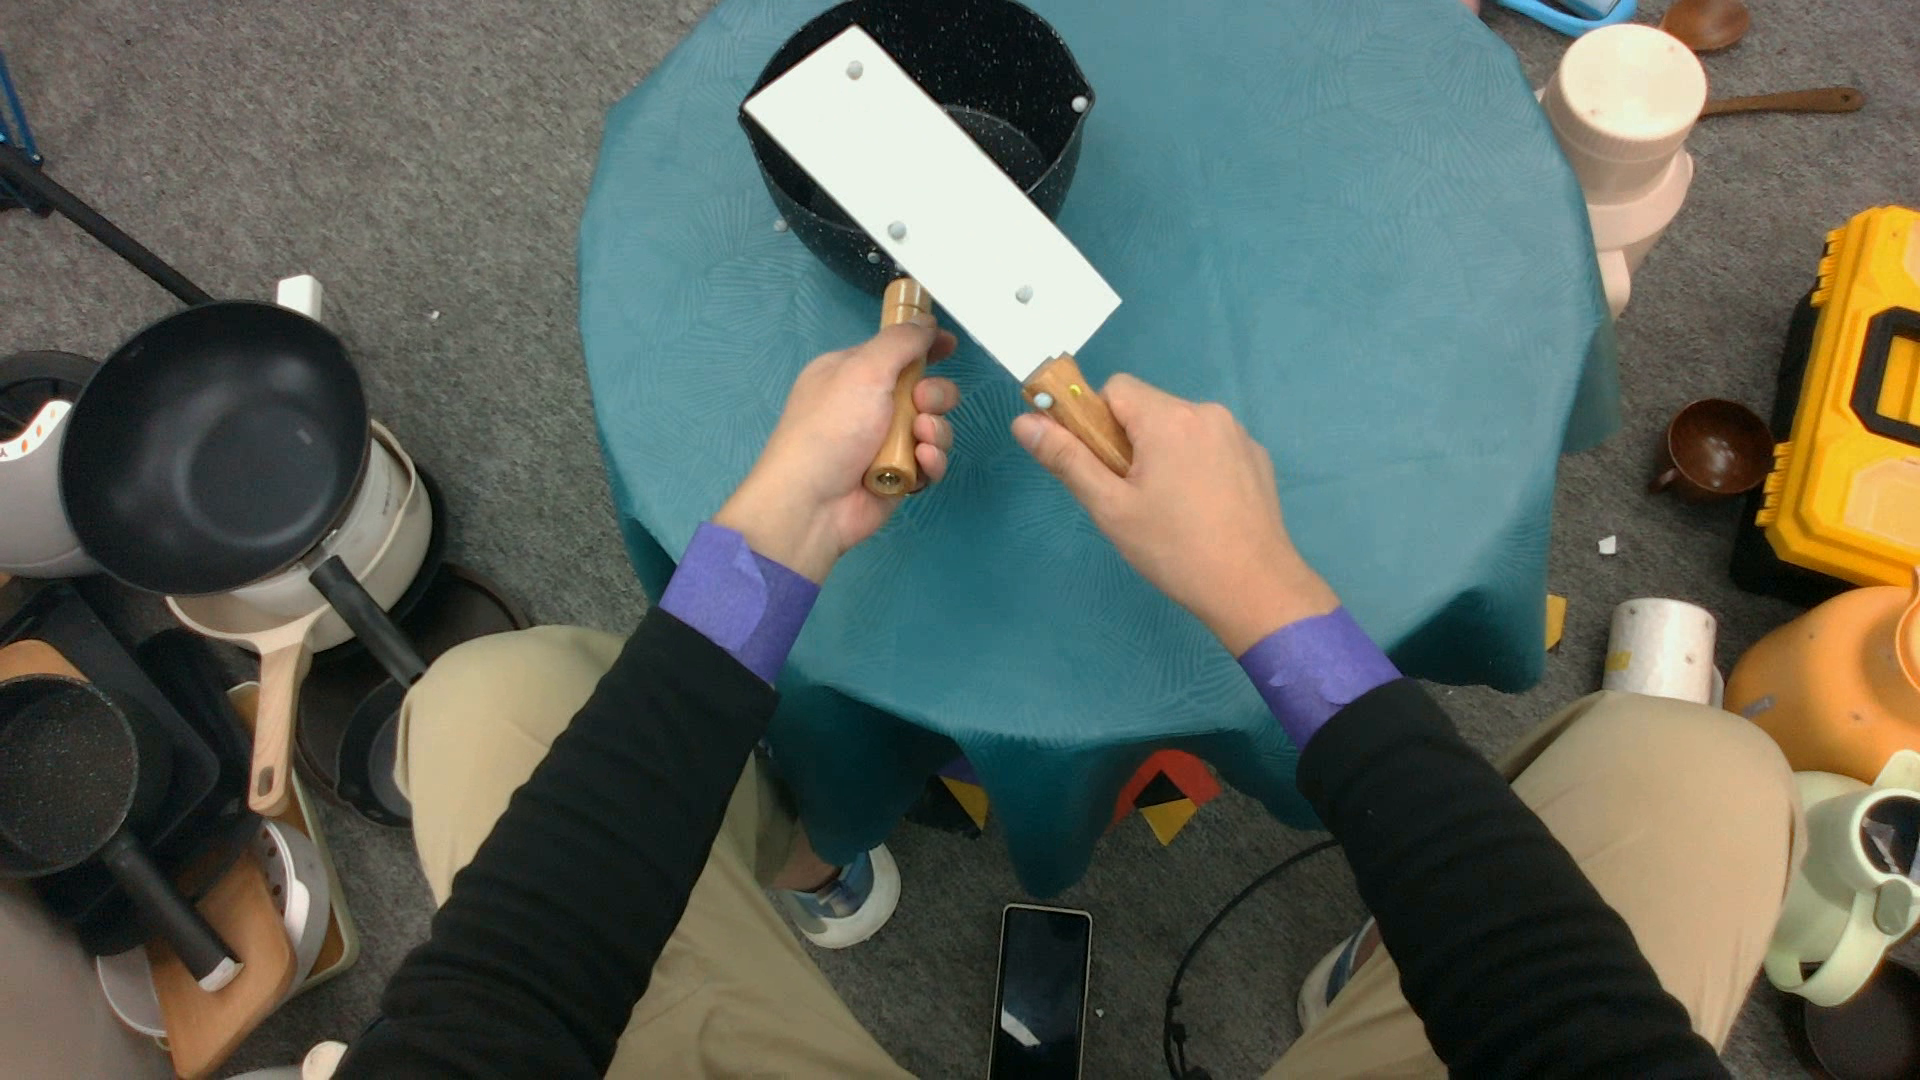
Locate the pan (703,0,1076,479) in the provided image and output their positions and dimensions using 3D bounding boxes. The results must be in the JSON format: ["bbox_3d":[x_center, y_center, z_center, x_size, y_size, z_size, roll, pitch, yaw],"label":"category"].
[{"bbox_3d":[-0.037,-0.166,0.752,0.207,0.108,0.344,-3,63,4],"label":"pan"}]

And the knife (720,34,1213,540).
[{"bbox_3d":[0.019,-0.128,0.670,0.305,0.021,0.093,43,53,-6],"label":"knife"}]
